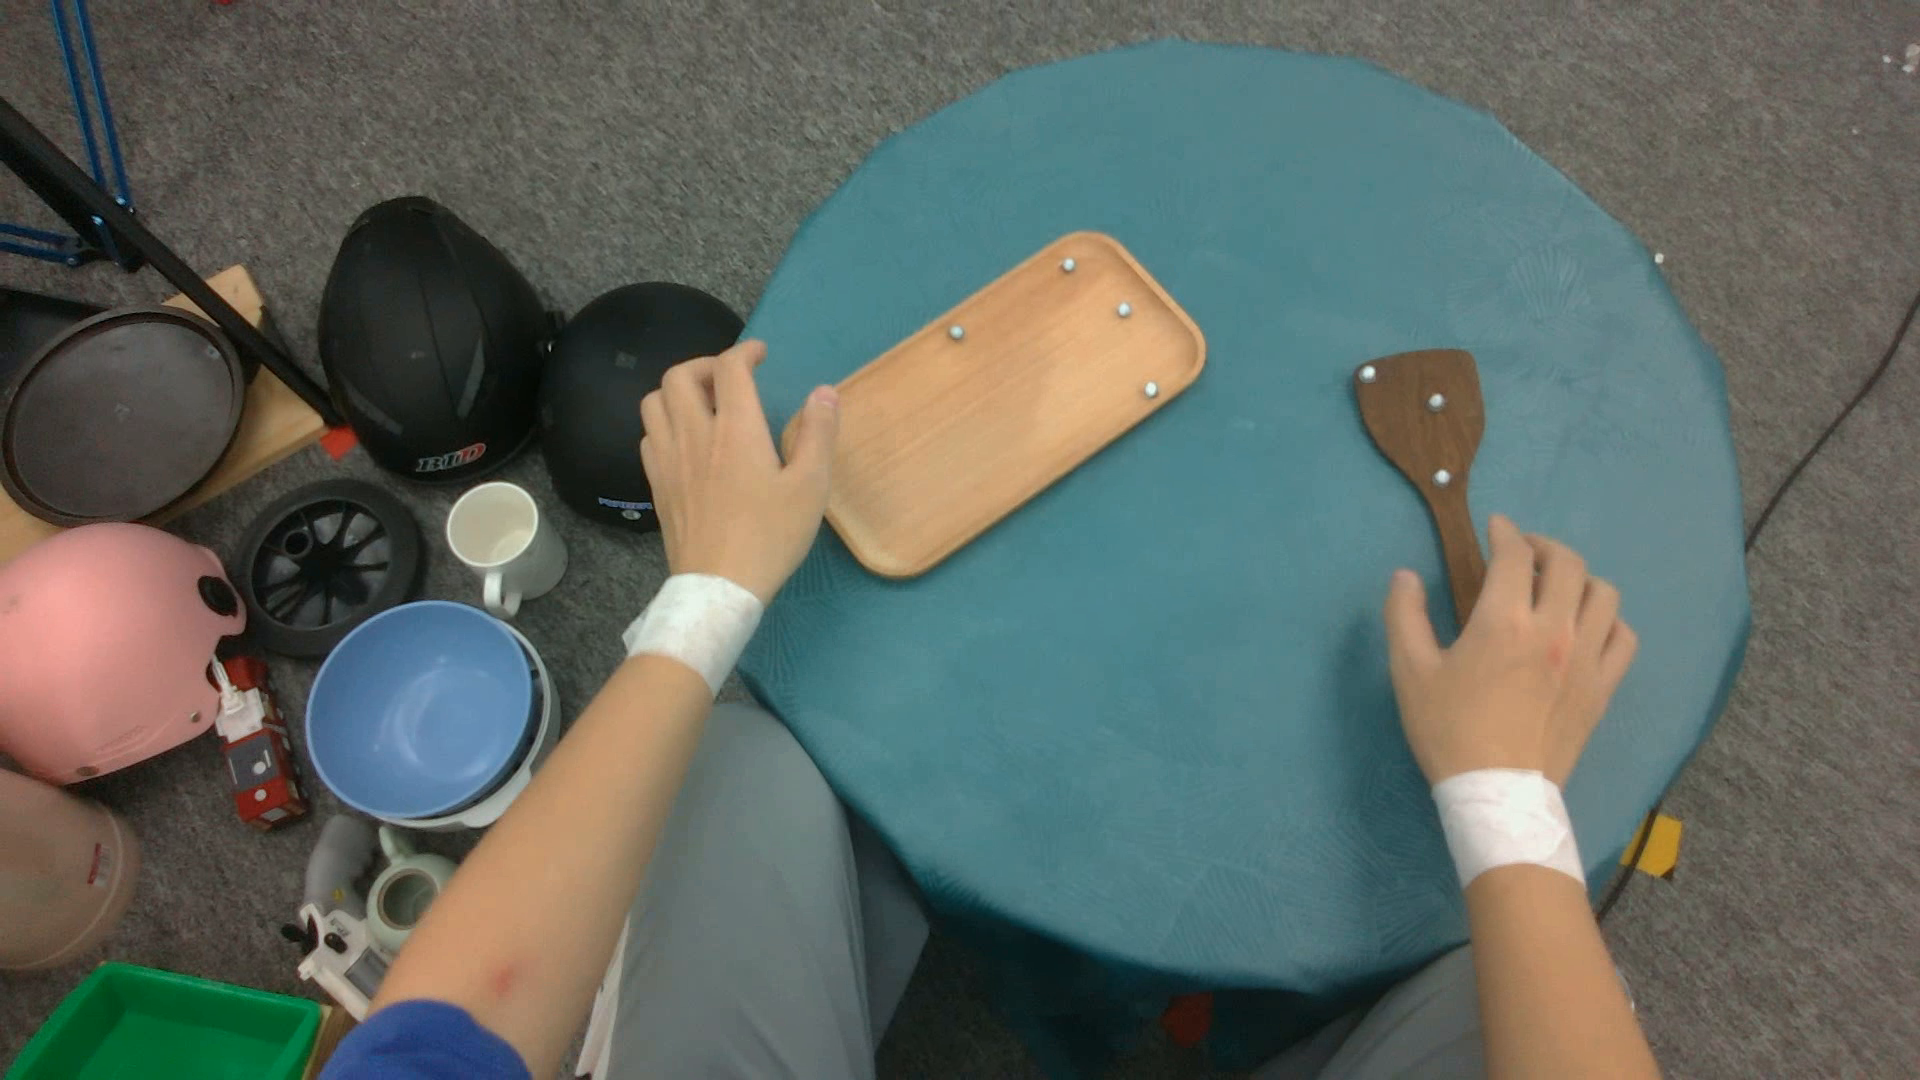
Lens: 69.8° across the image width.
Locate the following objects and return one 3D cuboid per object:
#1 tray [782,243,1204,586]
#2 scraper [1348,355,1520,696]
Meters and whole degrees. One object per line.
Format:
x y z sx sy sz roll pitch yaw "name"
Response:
0.021 -0.079 0.830 0.251 0.023 0.131 -34 68 -12 "tray"
0.283 -0.012 0.799 0.076 0.011 0.212 -7 68 -1 "scraper"
